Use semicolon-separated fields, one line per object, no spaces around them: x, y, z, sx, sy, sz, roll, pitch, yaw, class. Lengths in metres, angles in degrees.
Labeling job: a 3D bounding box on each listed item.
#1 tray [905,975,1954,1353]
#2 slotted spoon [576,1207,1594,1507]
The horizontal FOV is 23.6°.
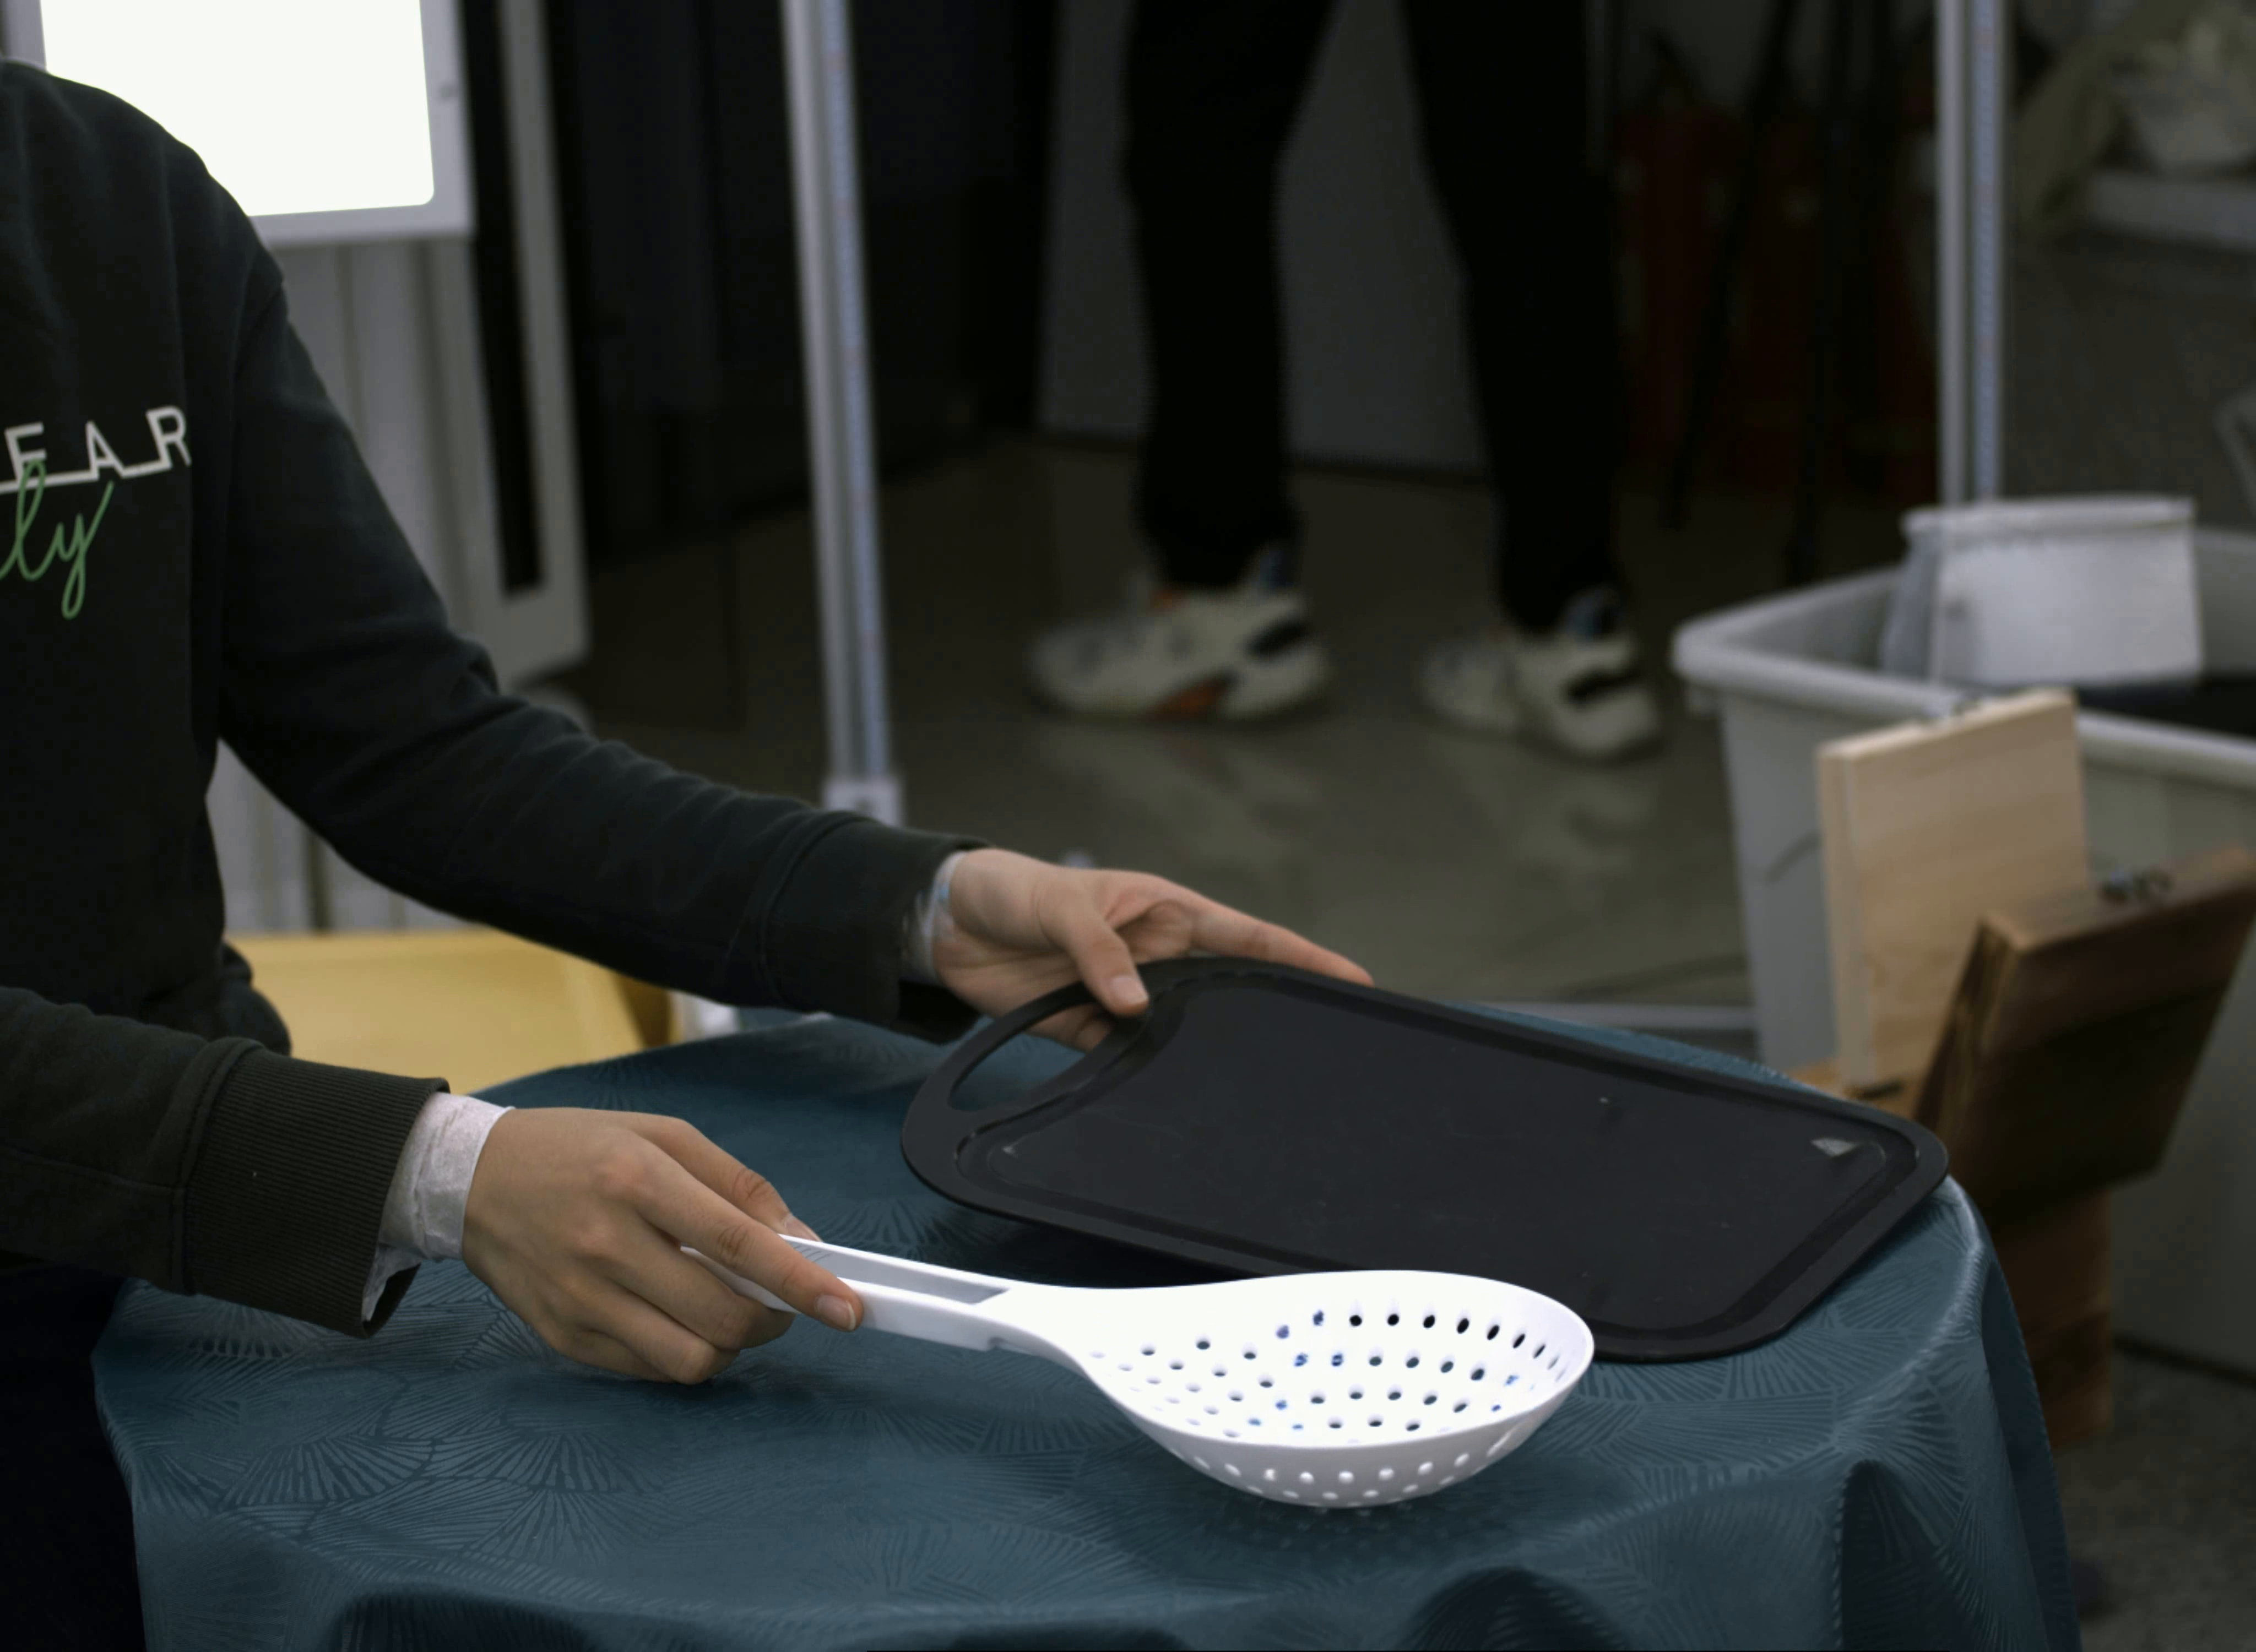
0.089;0.101;1.724;0.327;0.010;0.208;11;24;30;tray
-0.024;0.143;1.554;0.352;0.046;0.133;12;21;36;slotted spoon
